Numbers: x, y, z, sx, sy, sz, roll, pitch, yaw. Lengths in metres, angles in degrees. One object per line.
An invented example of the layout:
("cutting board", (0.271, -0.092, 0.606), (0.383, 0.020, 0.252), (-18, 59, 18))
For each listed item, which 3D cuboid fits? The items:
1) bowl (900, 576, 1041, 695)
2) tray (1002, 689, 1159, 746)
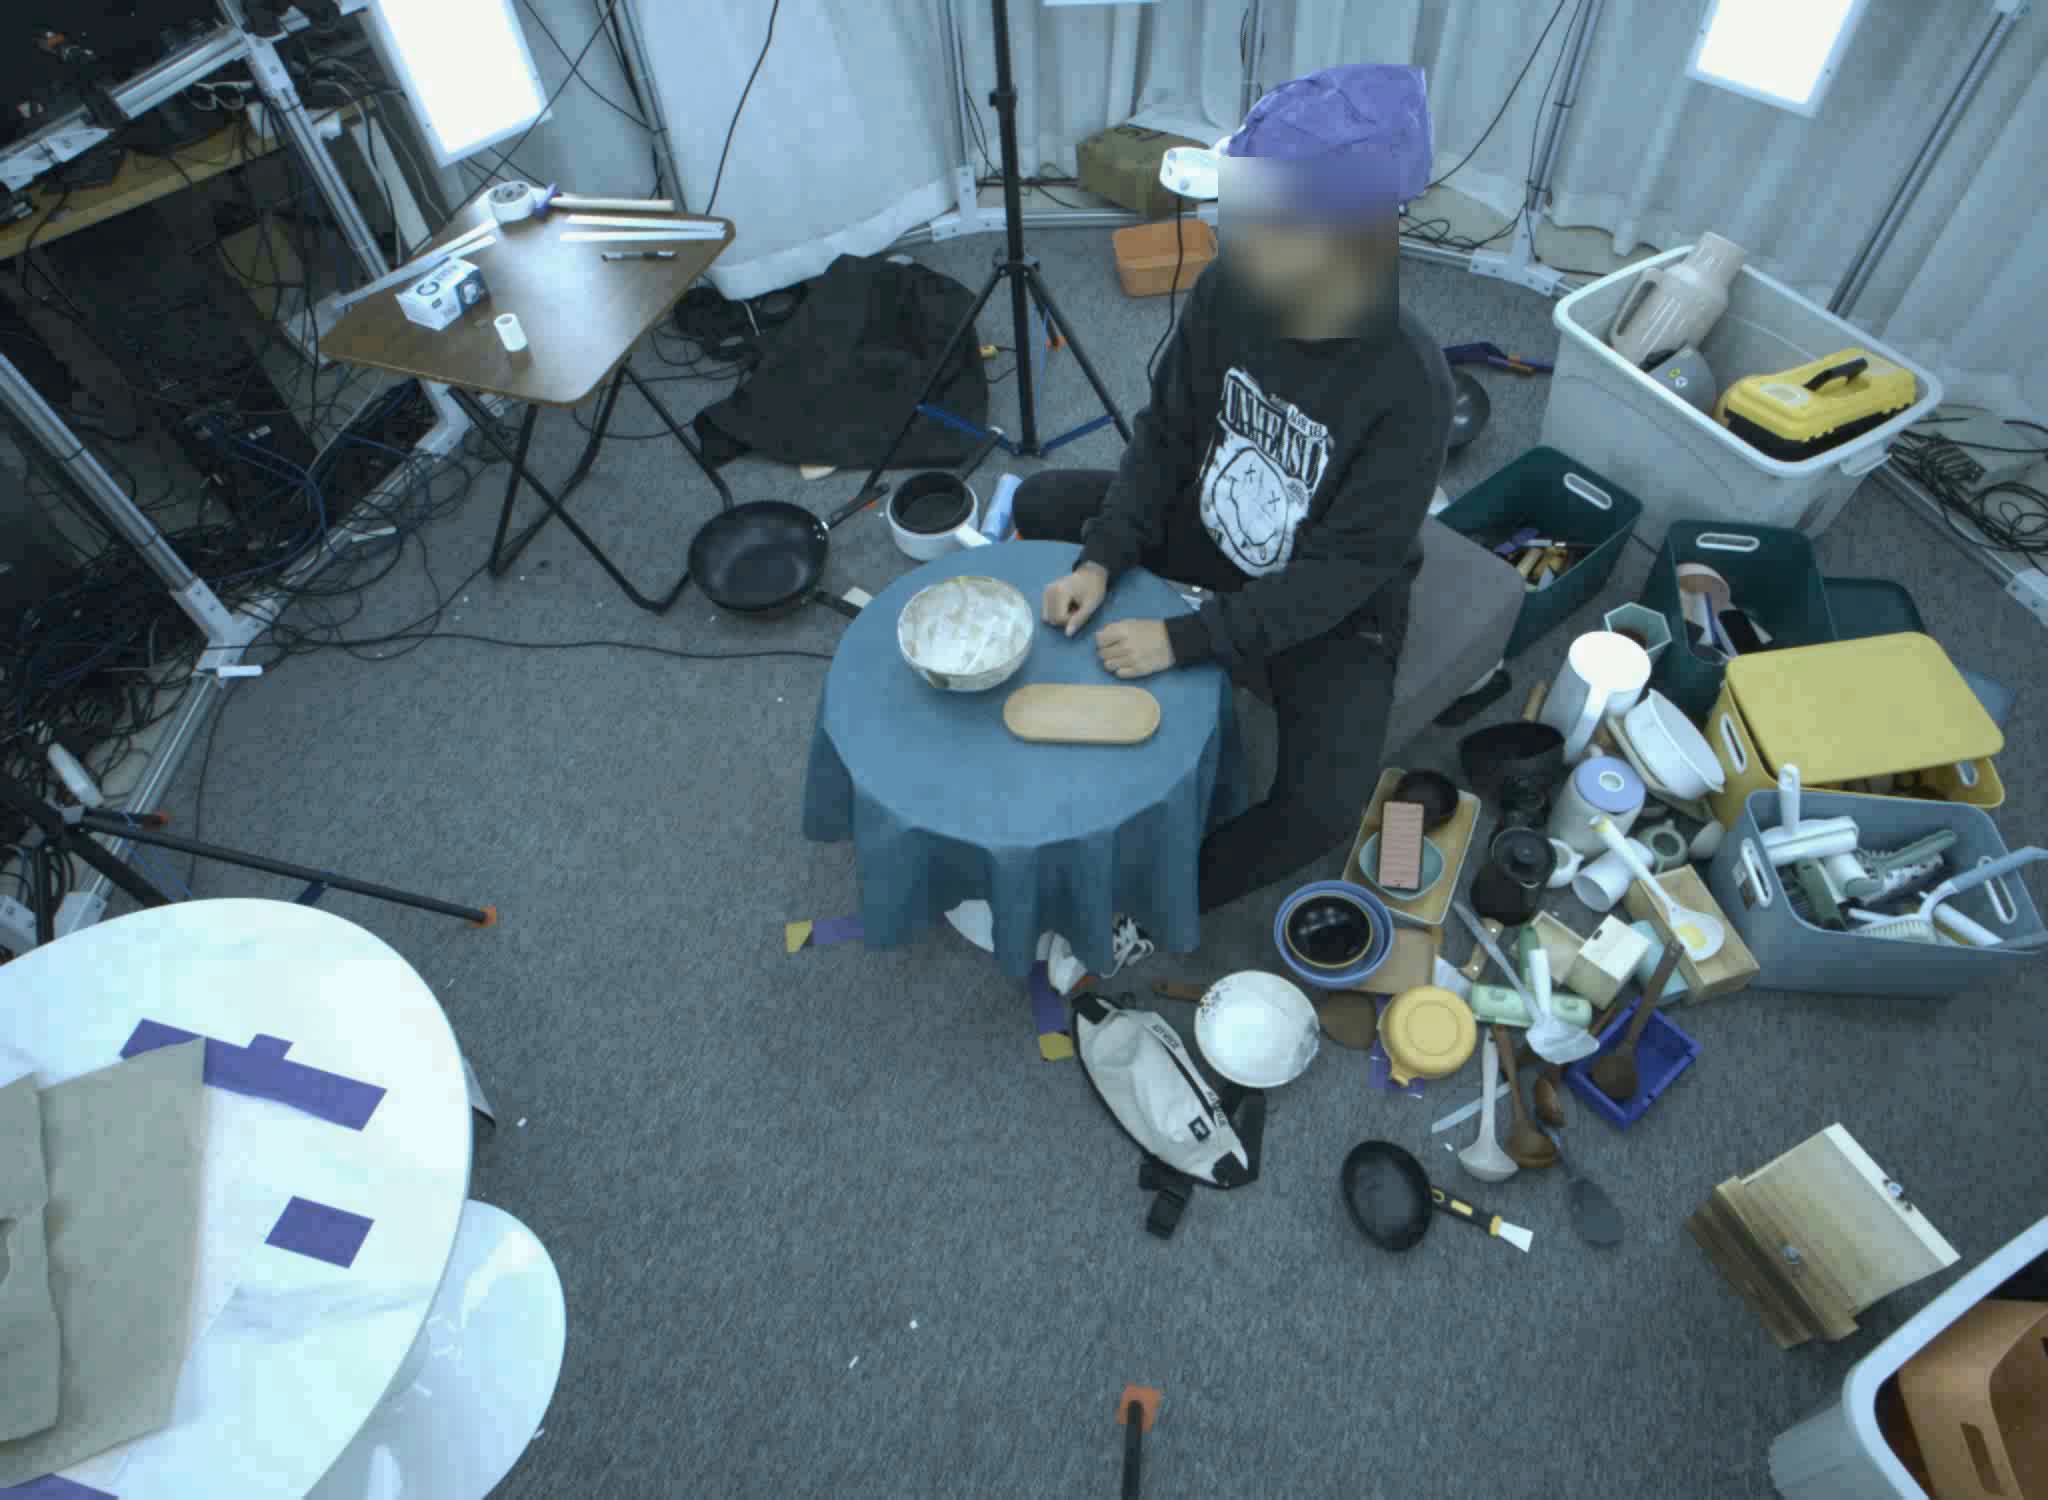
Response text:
("bowl", (-0.078, -0.155, 1.852), (0.214, 0.095, 0.212), (-1, 54, 2))
("tray", (0.084, -0.047, 1.819), (0.230, 0.020, 0.101), (0, 53, 4))
